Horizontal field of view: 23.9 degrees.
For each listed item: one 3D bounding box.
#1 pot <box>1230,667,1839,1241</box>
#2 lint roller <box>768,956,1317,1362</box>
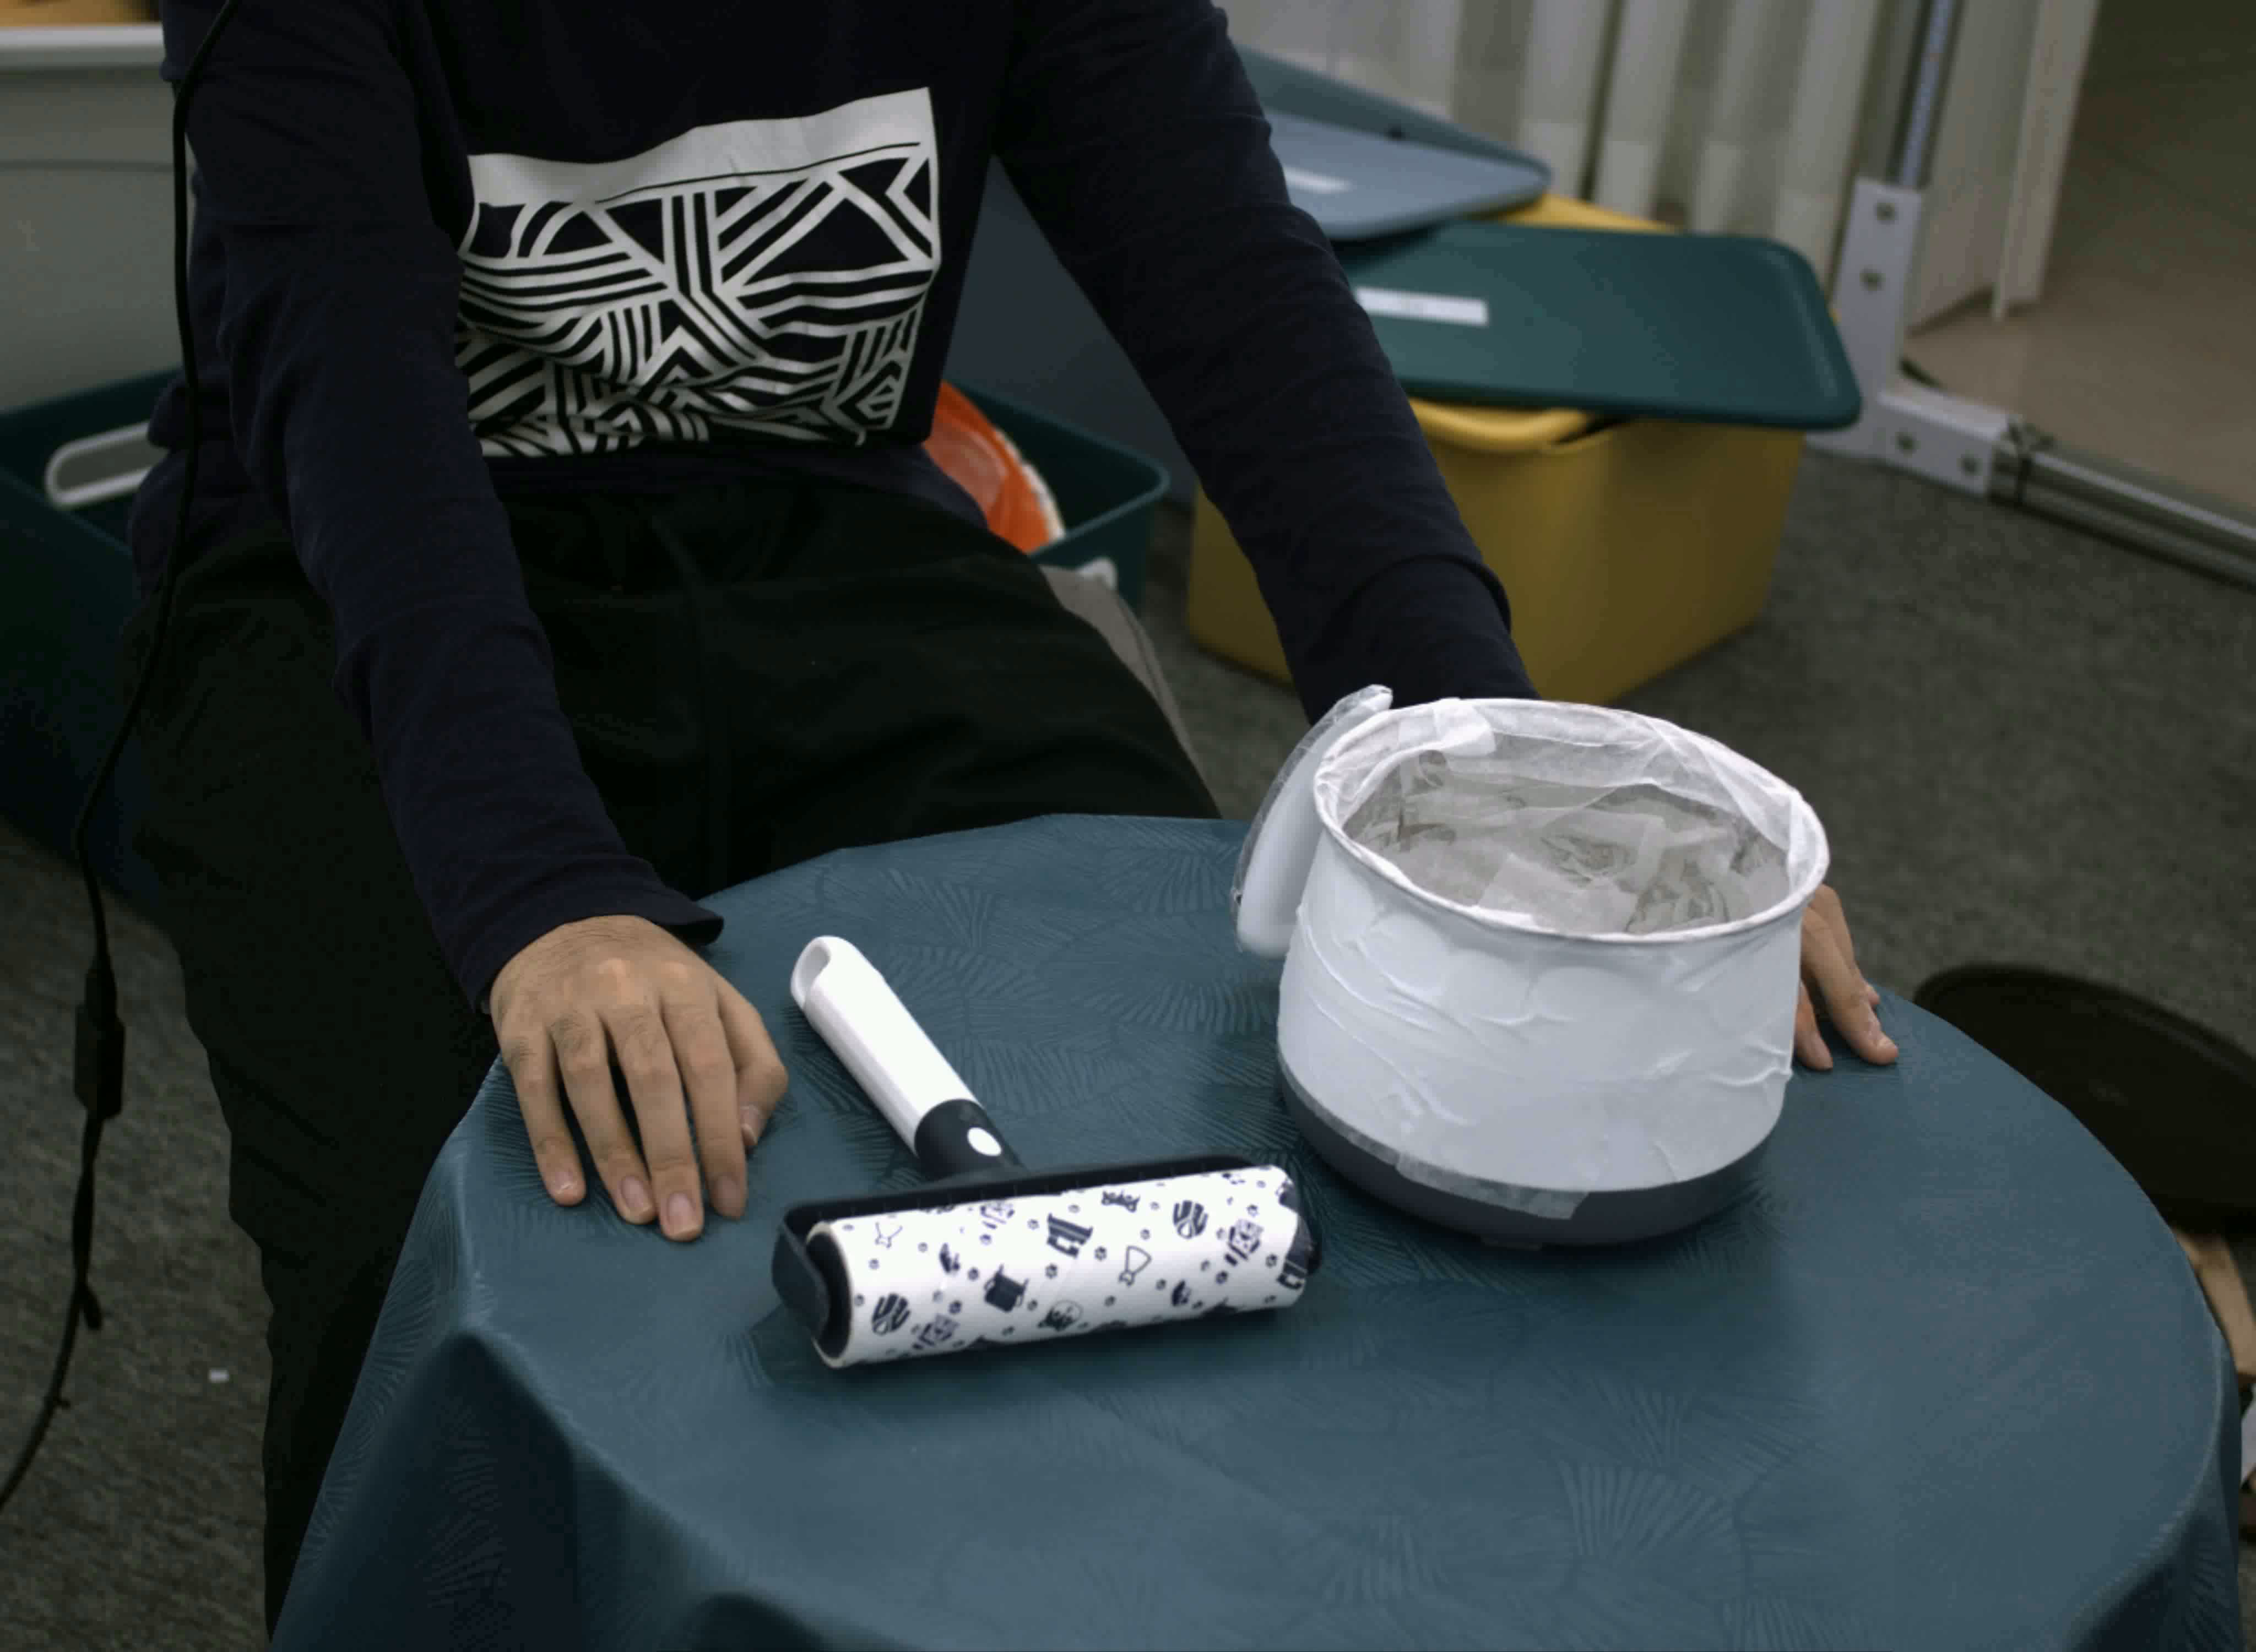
[{"bbox_3d":[0.126,0.037,1.845,0.177,0.136,0.235,-13,35,-40],"label":"pot"},{"bbox_3d":[-0.065,0.097,1.796,0.175,0.050,0.249,-7,27,-23],"label":"lint roller"}]
